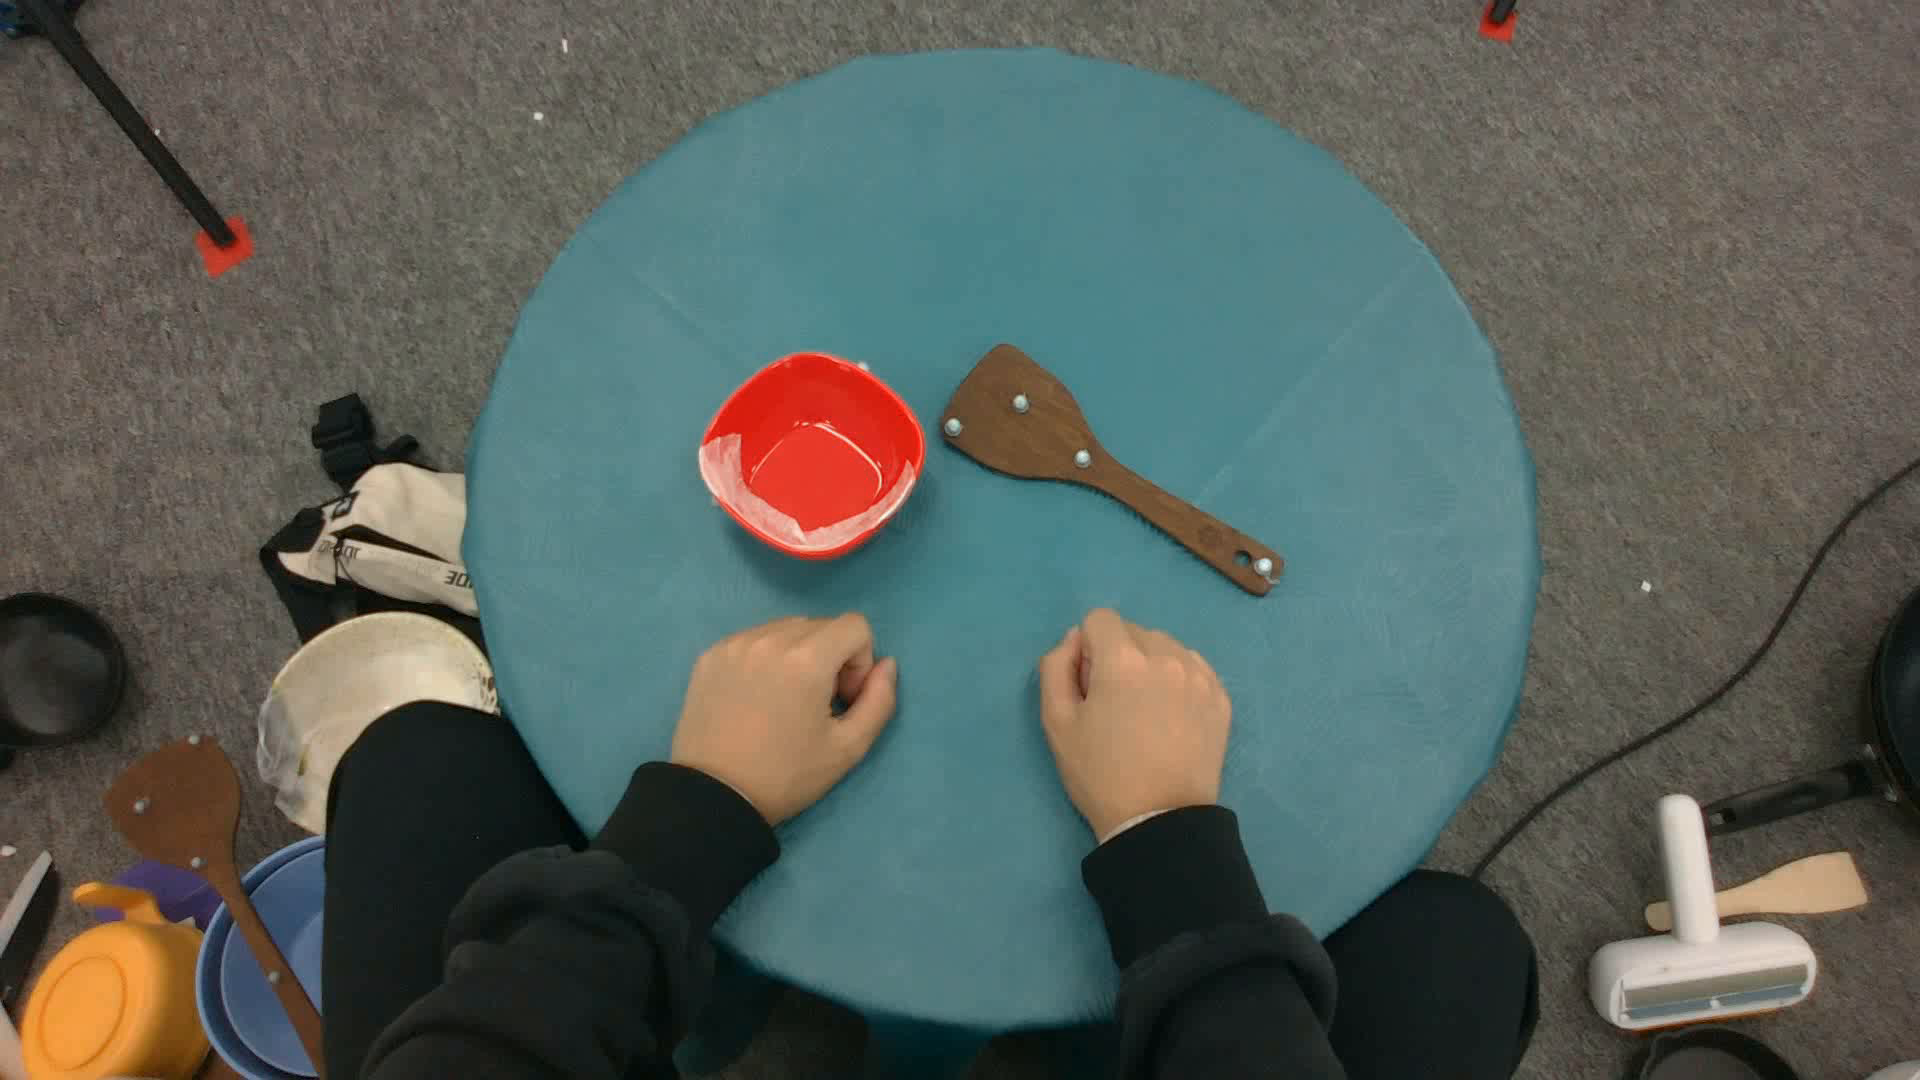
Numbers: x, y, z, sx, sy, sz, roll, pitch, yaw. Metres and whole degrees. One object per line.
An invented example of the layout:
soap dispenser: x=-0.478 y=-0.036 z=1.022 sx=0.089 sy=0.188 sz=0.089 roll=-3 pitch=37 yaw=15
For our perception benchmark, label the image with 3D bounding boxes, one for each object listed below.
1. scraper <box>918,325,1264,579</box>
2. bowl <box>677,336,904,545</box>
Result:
scraper: x=0.077 y=-0.043 z=0.775 sx=0.211 sy=0.011 sz=0.076 roll=33 pitch=71 yaw=9
bowl: x=-0.090 y=-0.046 z=0.744 sx=0.119 sy=0.051 sz=0.119 roll=2 pitch=68 yaw=-4
